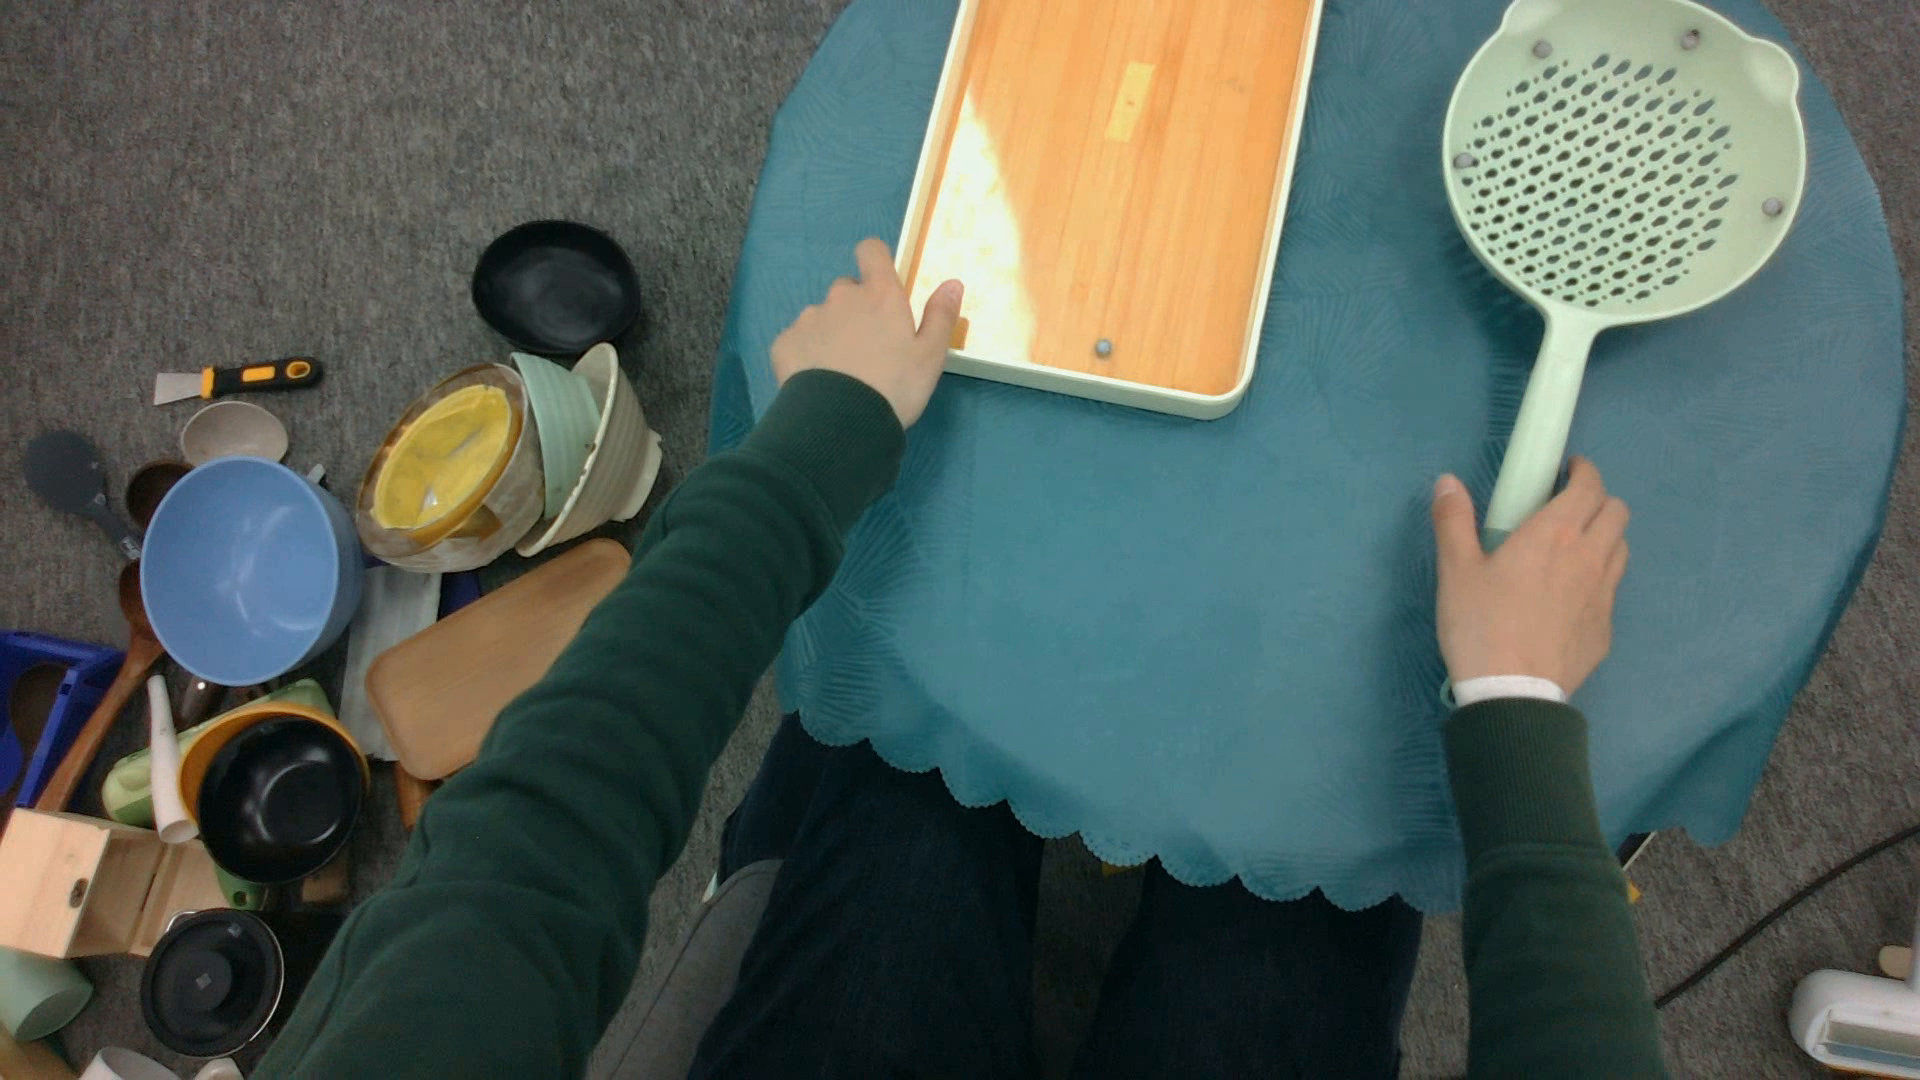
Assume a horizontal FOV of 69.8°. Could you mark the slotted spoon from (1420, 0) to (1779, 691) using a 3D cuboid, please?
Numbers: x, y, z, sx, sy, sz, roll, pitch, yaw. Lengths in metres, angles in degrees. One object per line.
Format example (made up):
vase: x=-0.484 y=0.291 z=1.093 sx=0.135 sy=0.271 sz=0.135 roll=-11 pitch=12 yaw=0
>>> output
slotted spoon: x=0.283 y=-0.101 z=0.672 sx=0.169 sy=0.075 sz=0.360 roll=17 pitch=75 yaw=8

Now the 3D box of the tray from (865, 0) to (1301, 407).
tray: x=0.073 y=-0.225 z=0.739 sx=0.191 sy=0.027 sz=0.301 roll=11 pitch=73 yaw=6
